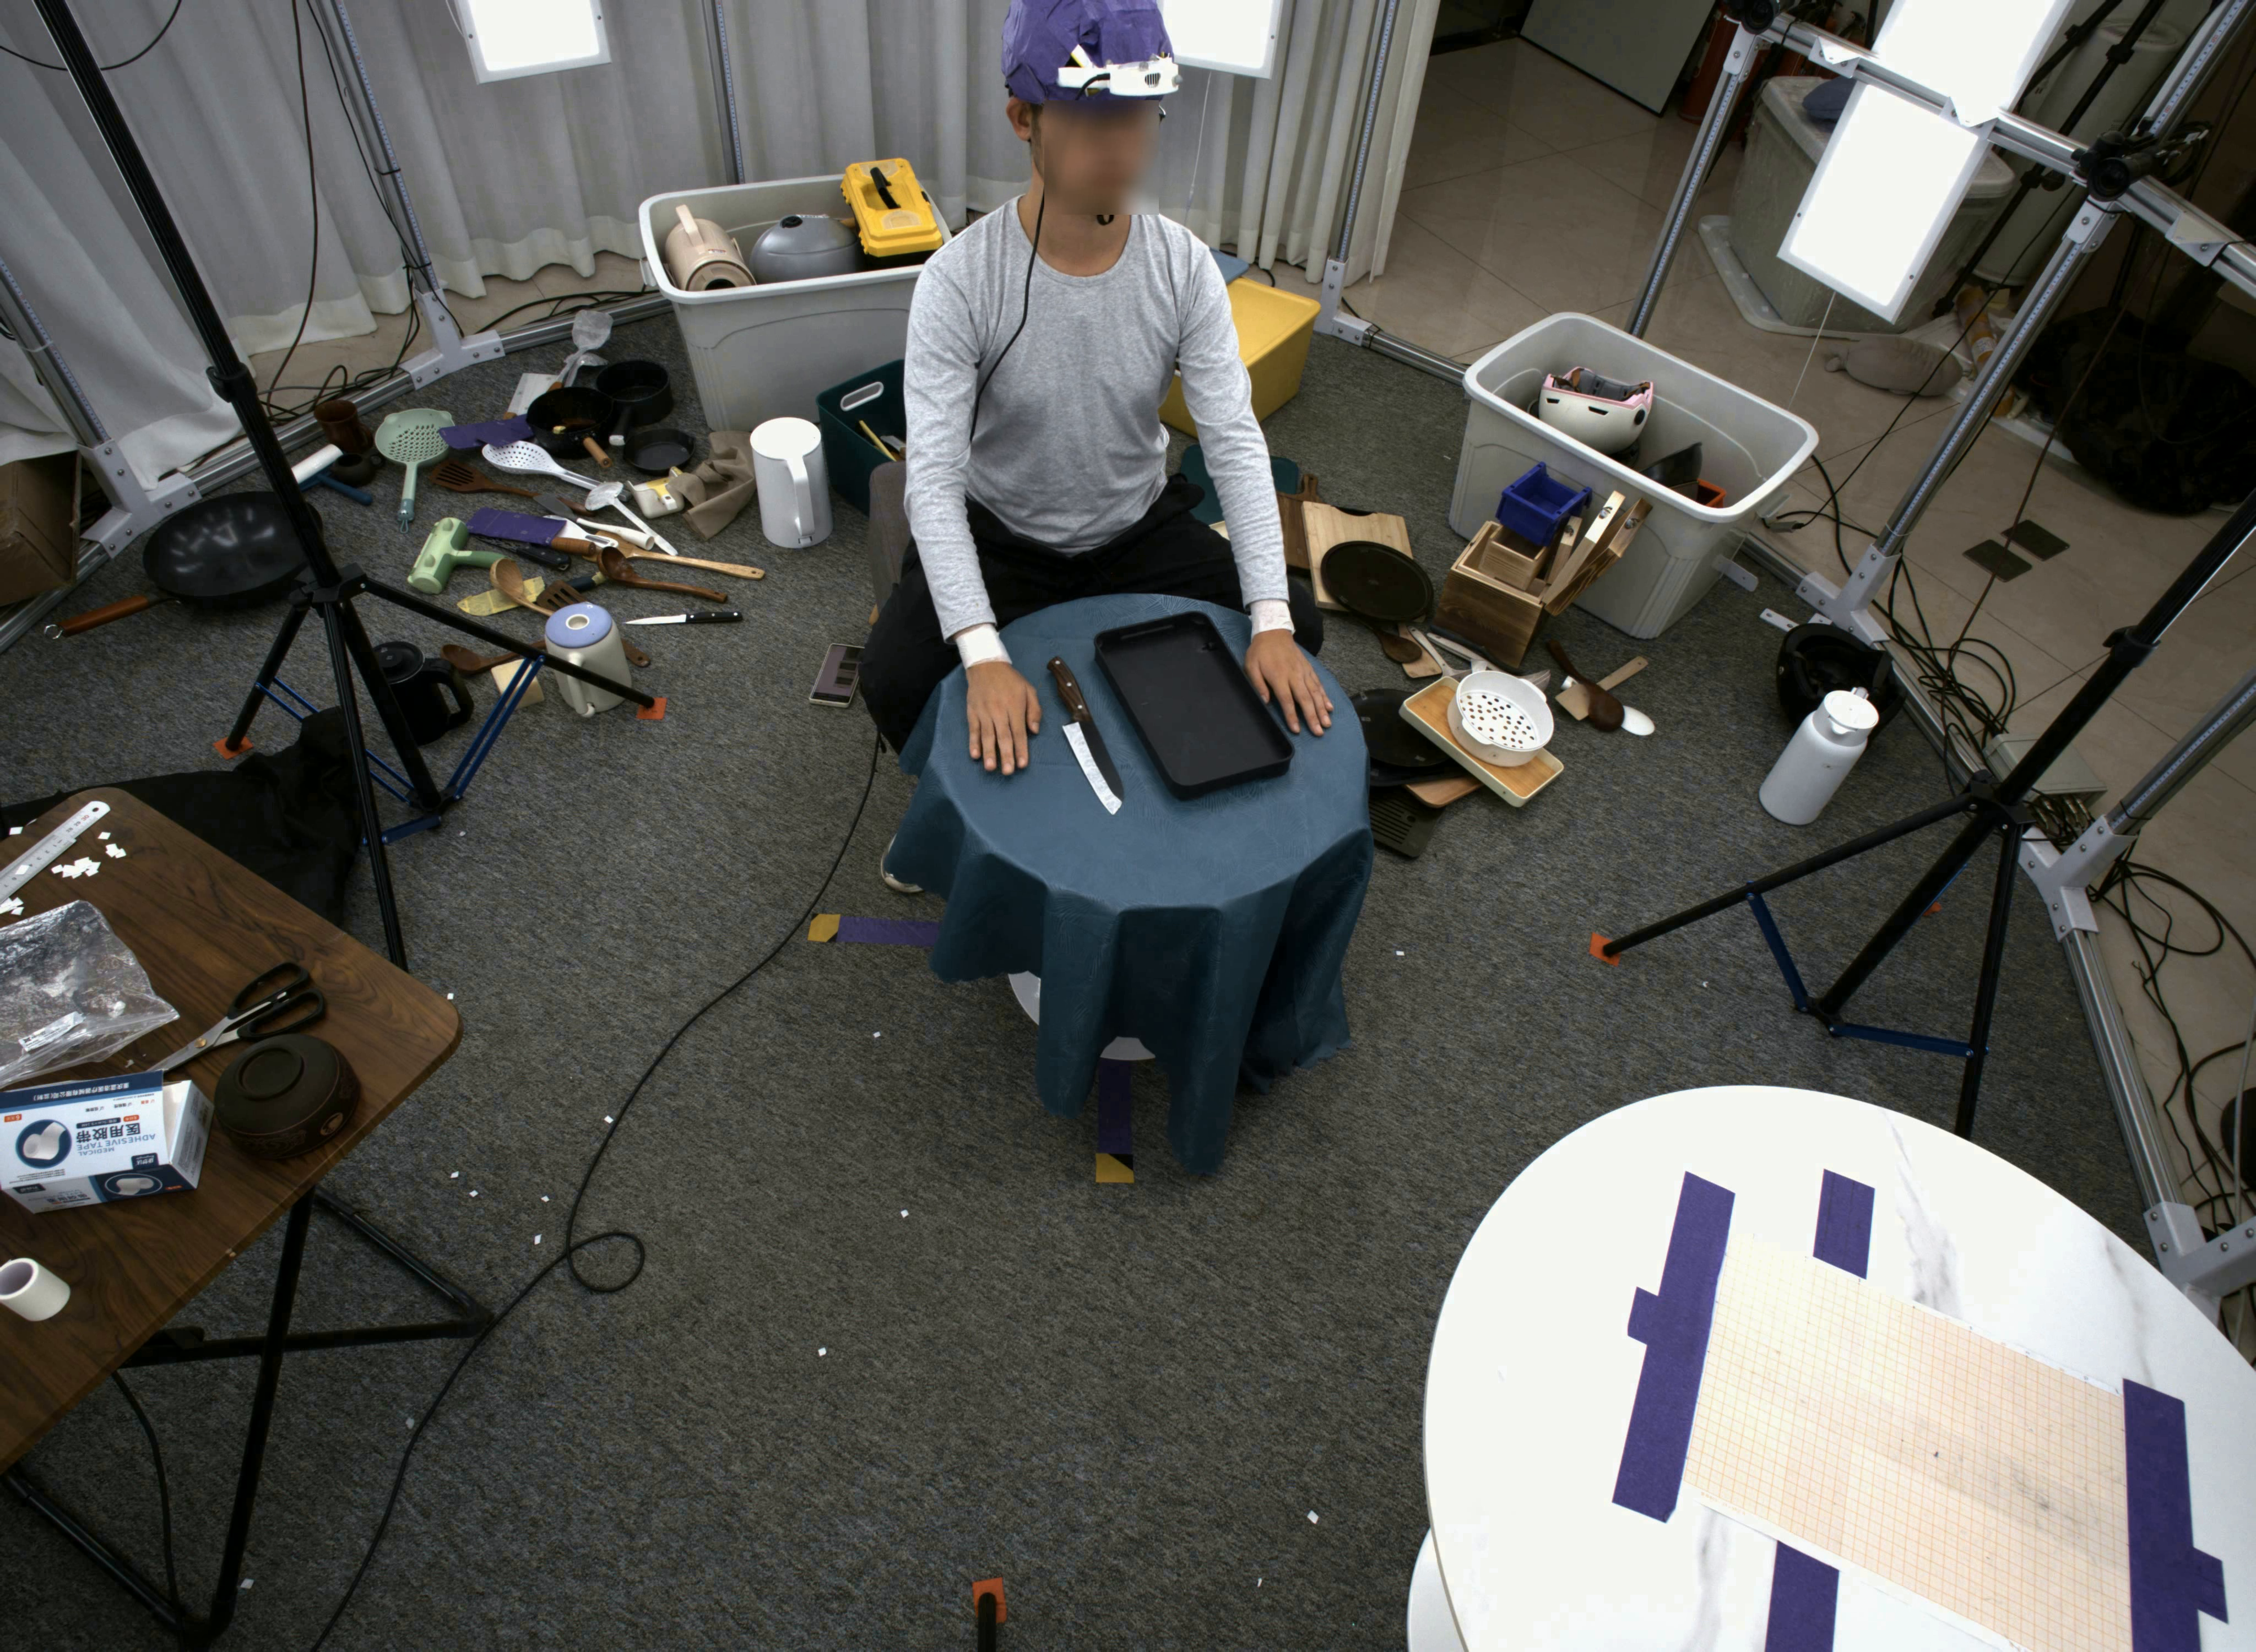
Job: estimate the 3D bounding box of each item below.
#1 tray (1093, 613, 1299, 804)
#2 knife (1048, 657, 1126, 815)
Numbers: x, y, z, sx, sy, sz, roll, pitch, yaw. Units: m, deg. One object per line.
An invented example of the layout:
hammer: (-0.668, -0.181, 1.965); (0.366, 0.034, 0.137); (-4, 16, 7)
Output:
tray: (0.089, -0.171, 1.799); (0.184, 0.036, 0.325); (-17, 52, -17)
knife: (-0.059, -0.127, 1.764); (0.050, 0.019, 0.296); (-15, 54, -10)
